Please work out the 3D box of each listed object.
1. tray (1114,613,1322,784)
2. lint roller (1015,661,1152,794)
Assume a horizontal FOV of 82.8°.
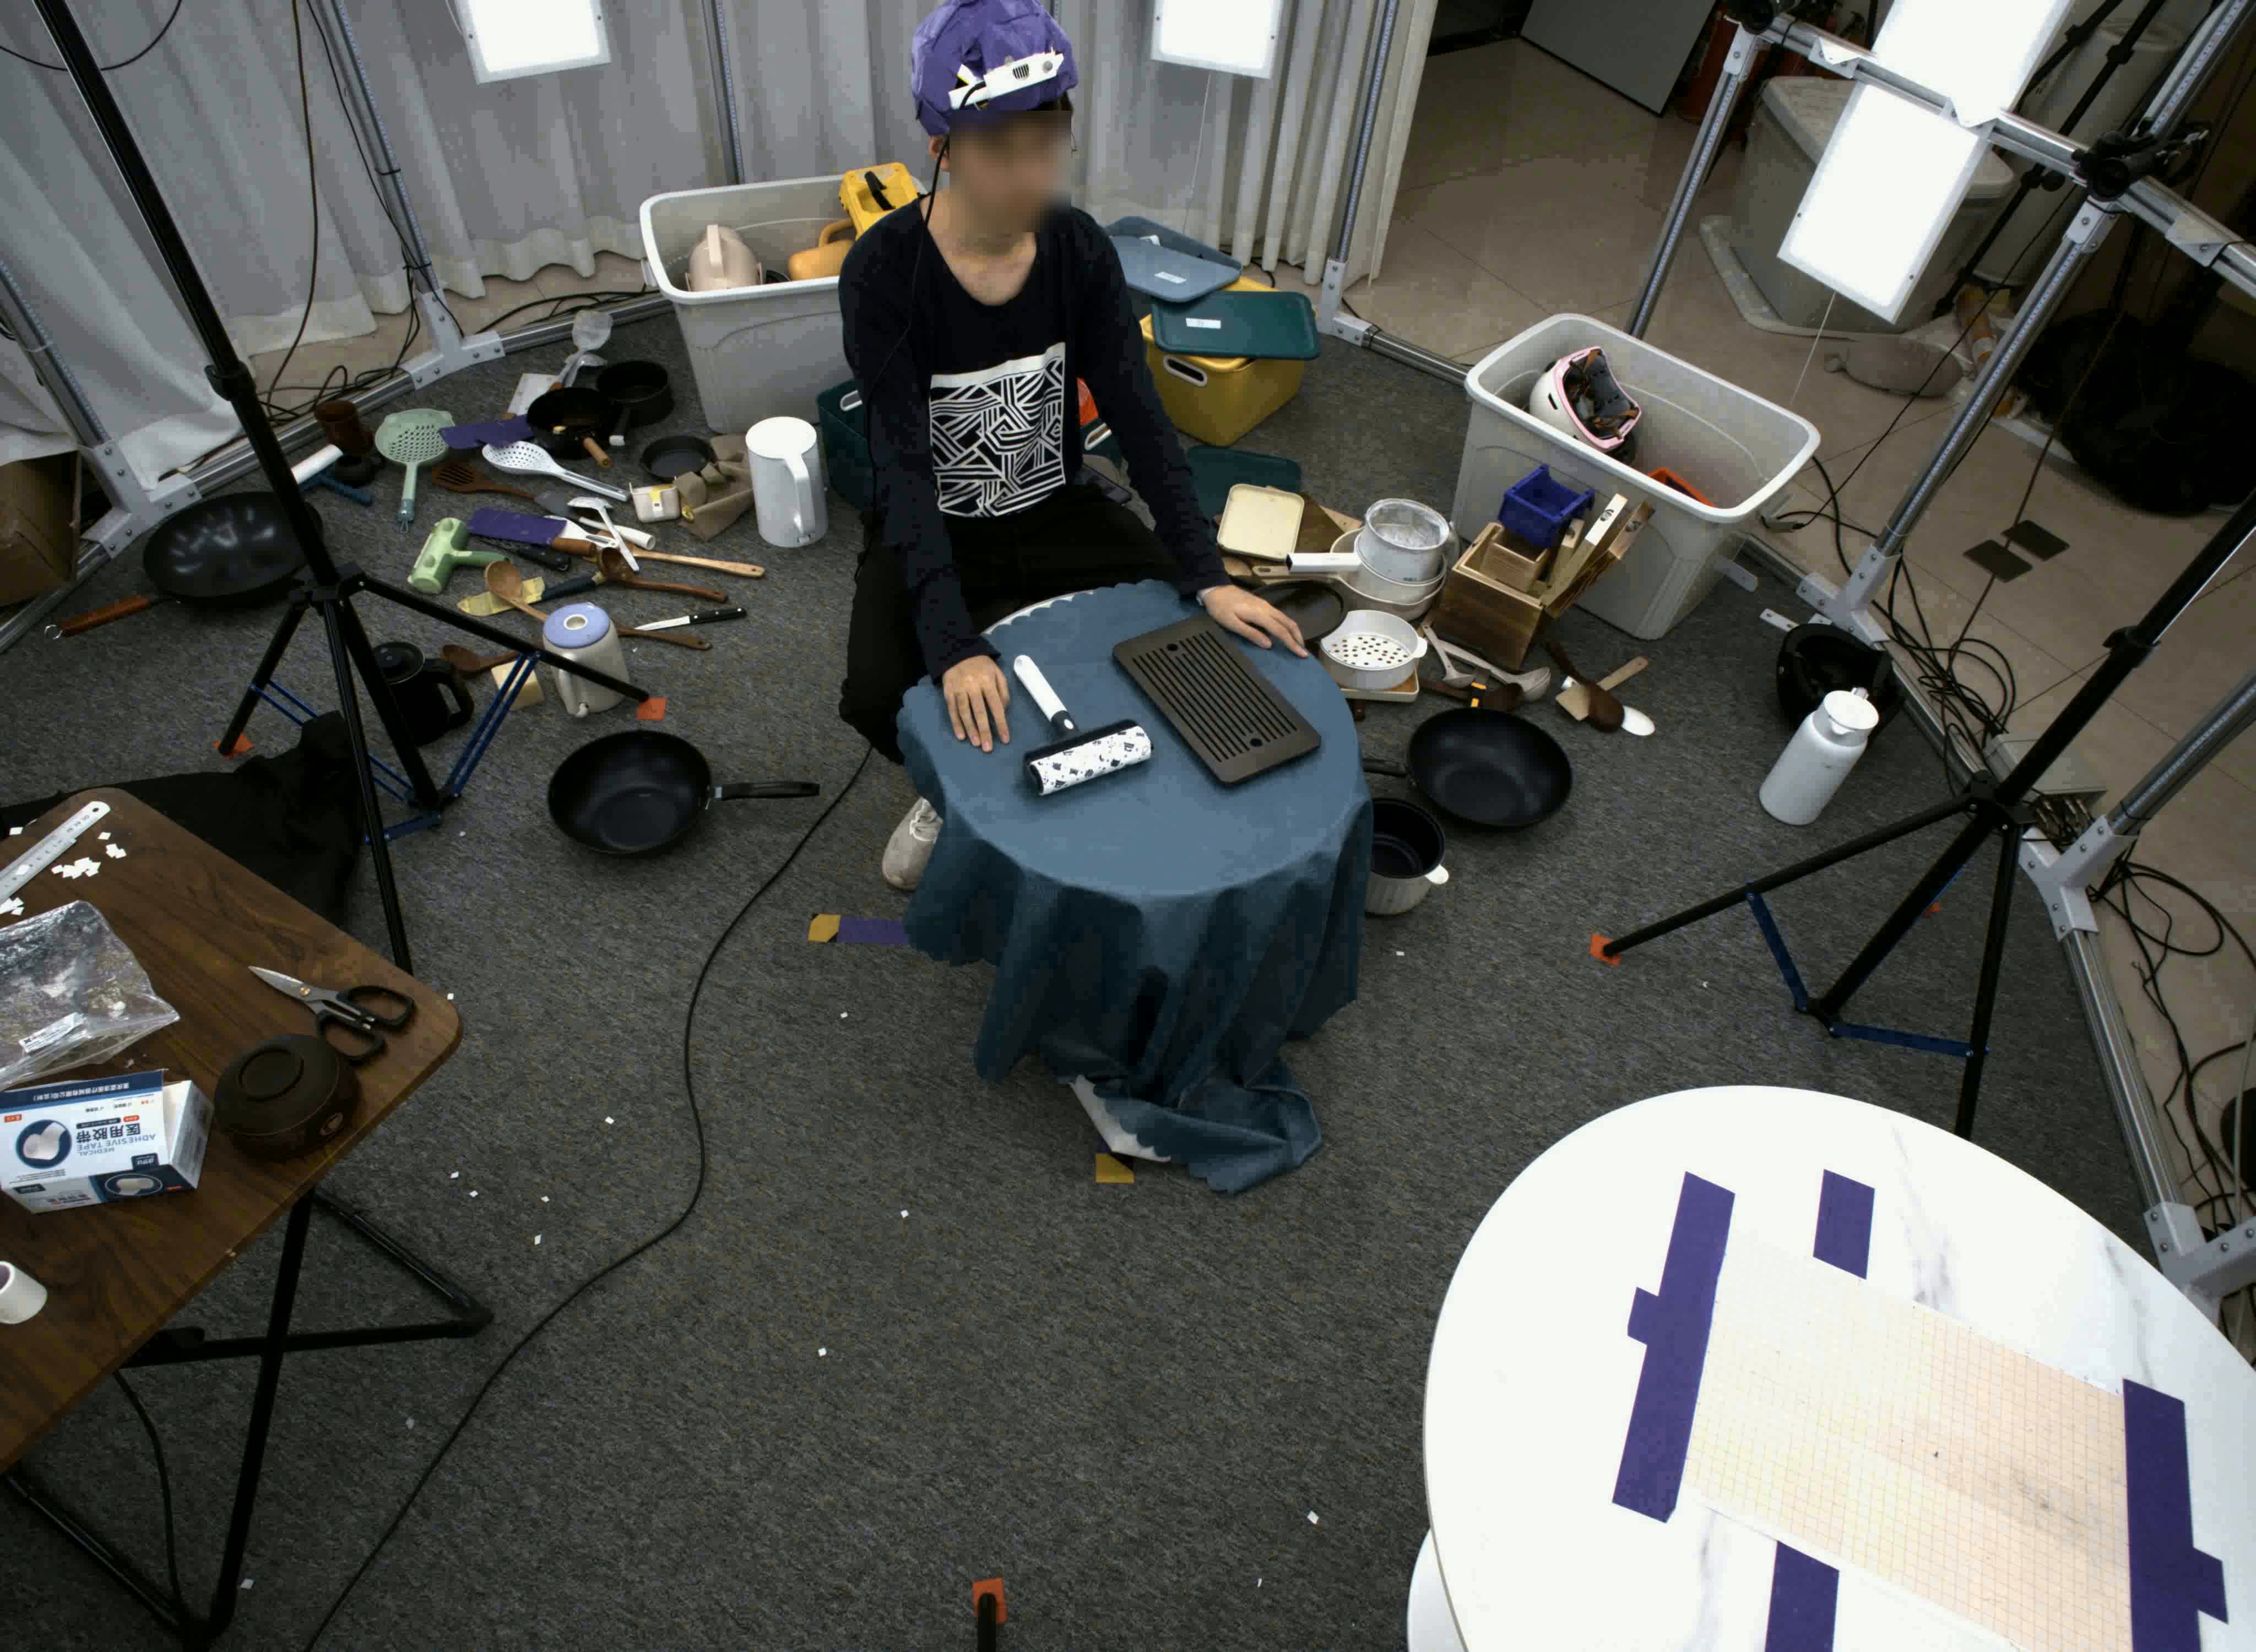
[{"bbox_3d":[0.124,-0.186,1.825,0.170,0.018,0.312,-22,54,-21],"label":"tray"},{"bbox_3d":[-0.100,-0.156,1.770,0.177,0.049,0.252,-21,51,-19],"label":"lint roller"}]
